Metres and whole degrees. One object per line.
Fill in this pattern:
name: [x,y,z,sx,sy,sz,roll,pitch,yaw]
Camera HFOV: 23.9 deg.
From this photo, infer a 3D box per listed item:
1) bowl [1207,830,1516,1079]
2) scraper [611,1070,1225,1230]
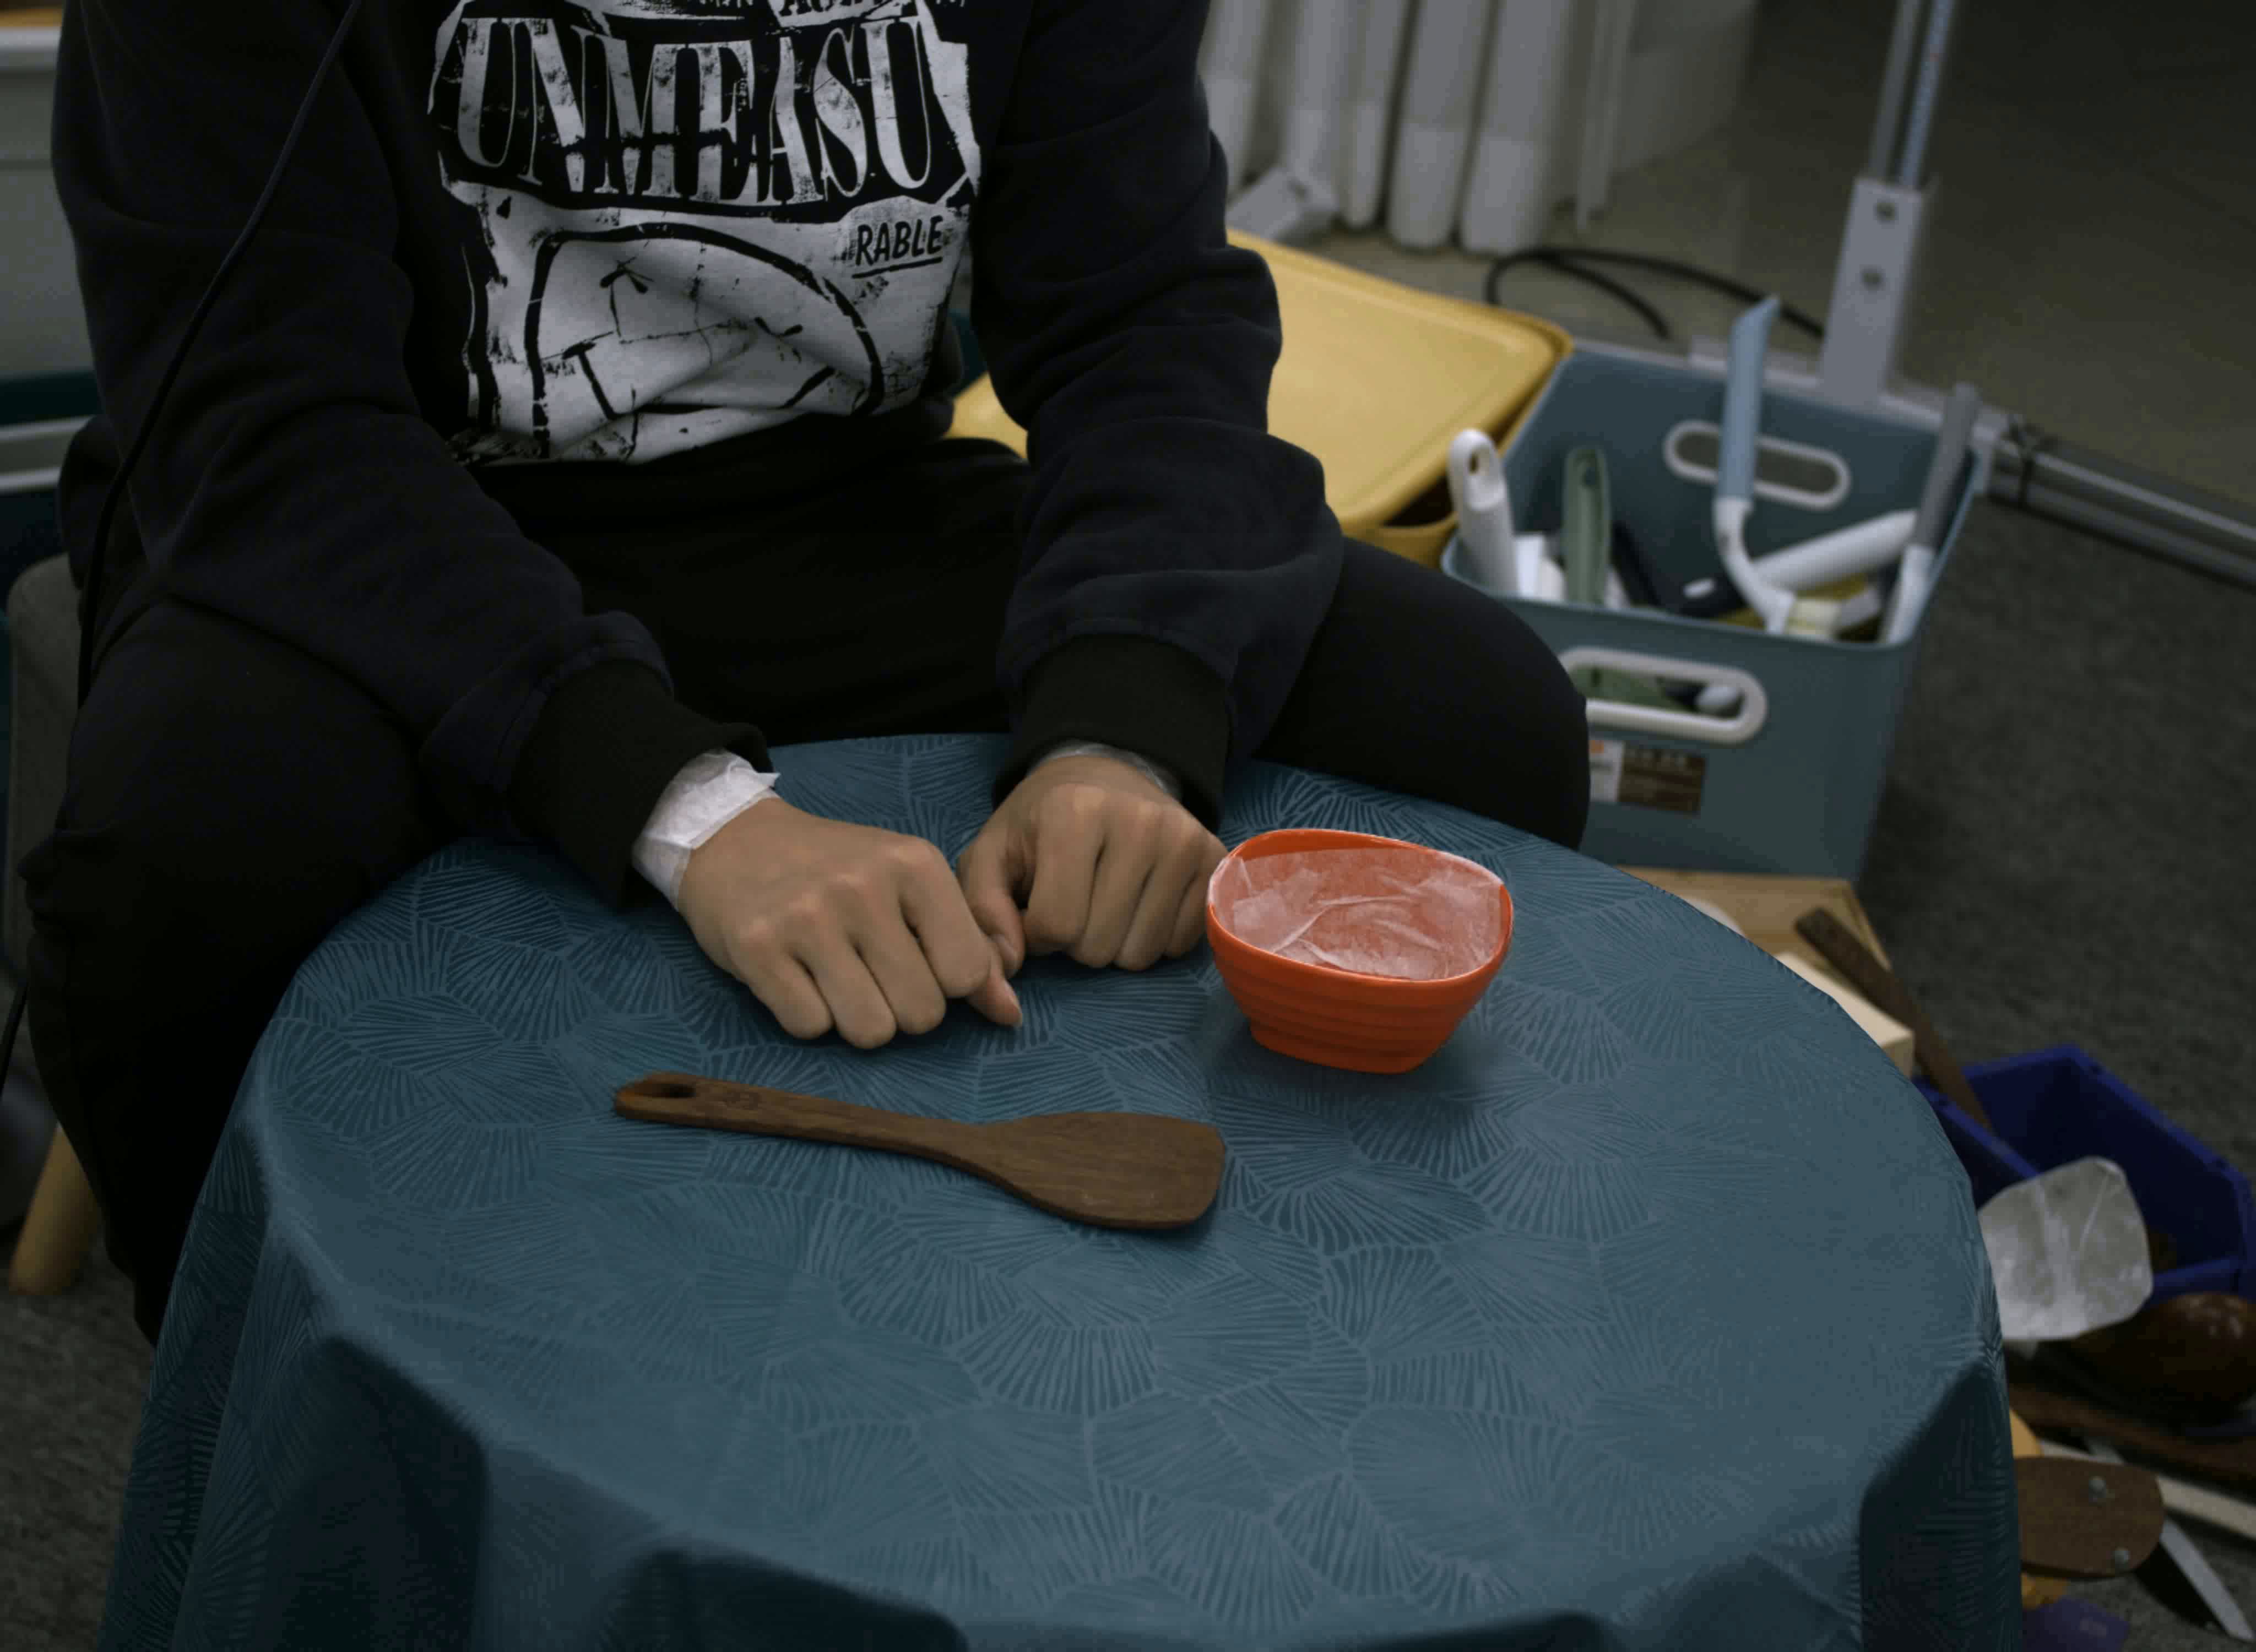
bowl: [0.081,0.050,1.910,0.118,0.051,0.119,5,28,-3]
scraper: [-0.072,0.106,1.811,0.211,0.011,0.076,8,26,5]
